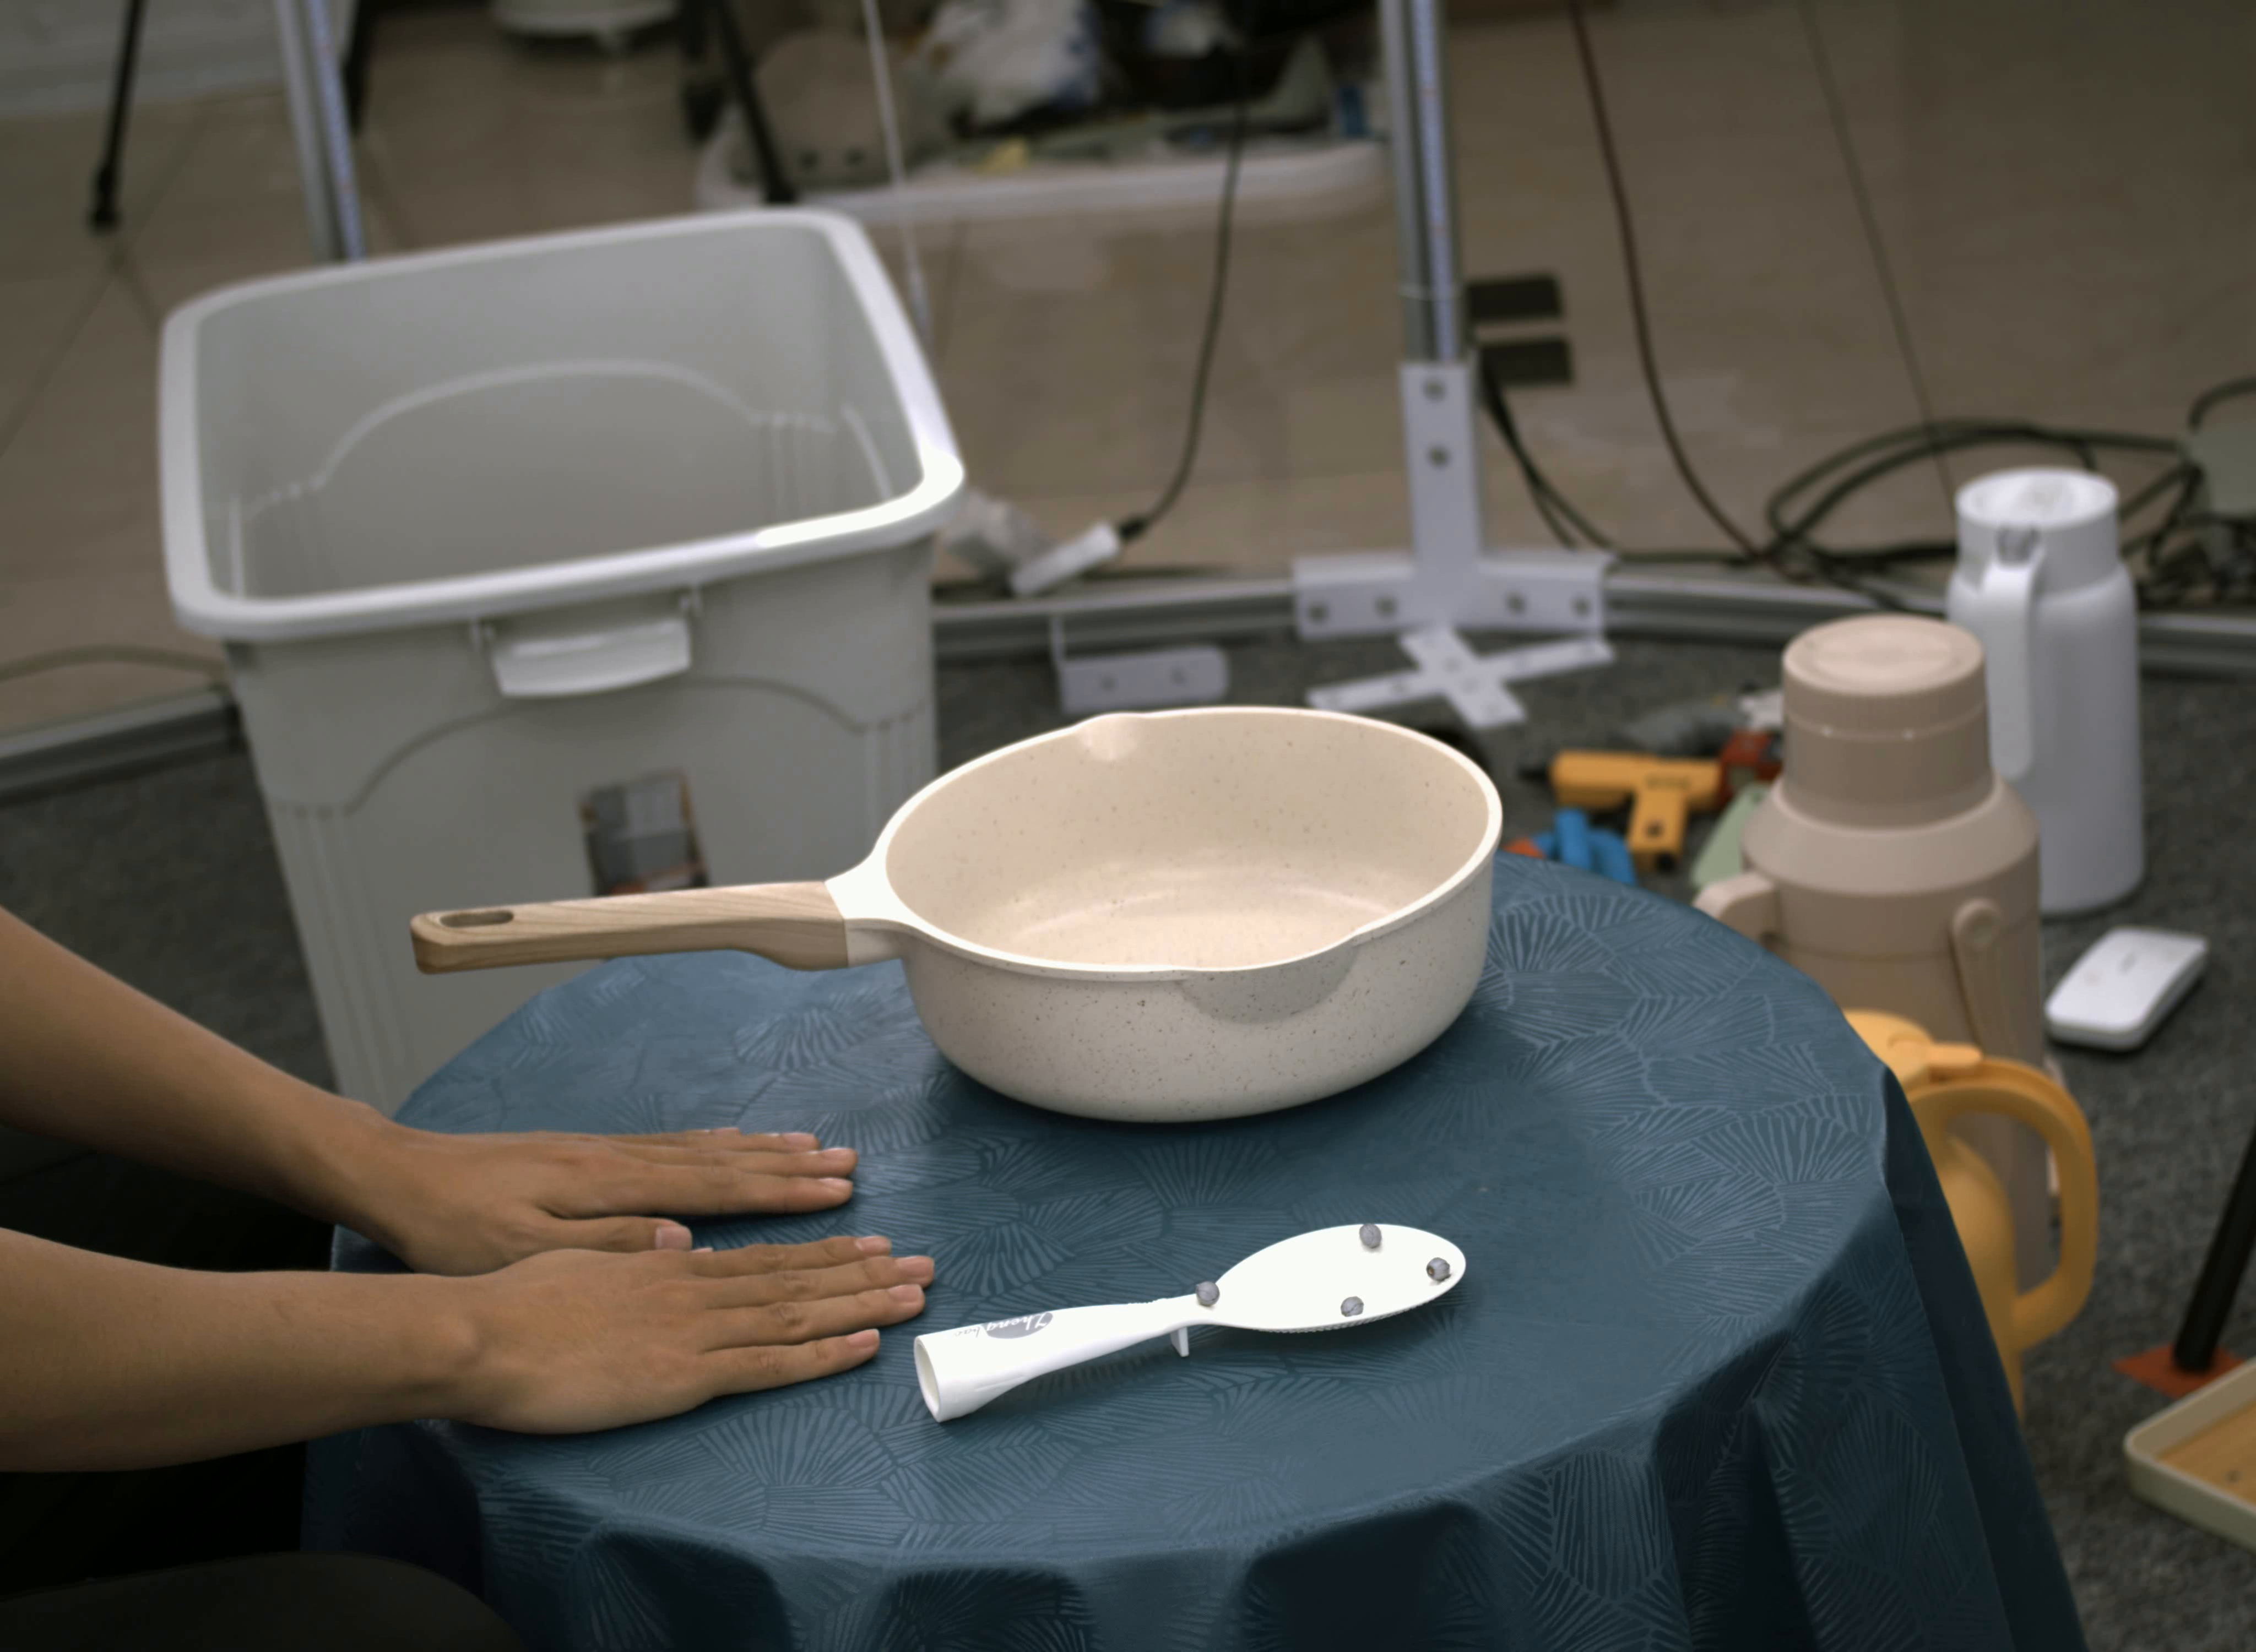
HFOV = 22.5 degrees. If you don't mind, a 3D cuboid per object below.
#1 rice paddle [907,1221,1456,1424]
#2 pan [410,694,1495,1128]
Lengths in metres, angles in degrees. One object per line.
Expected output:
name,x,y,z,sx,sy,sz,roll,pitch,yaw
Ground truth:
rice paddle,0.021,0.174,2.035,0.204,0.030,0.068,-13,28,-15
pan,-0.065,0.049,2.250,0.434,0.104,0.259,-12,28,-11
